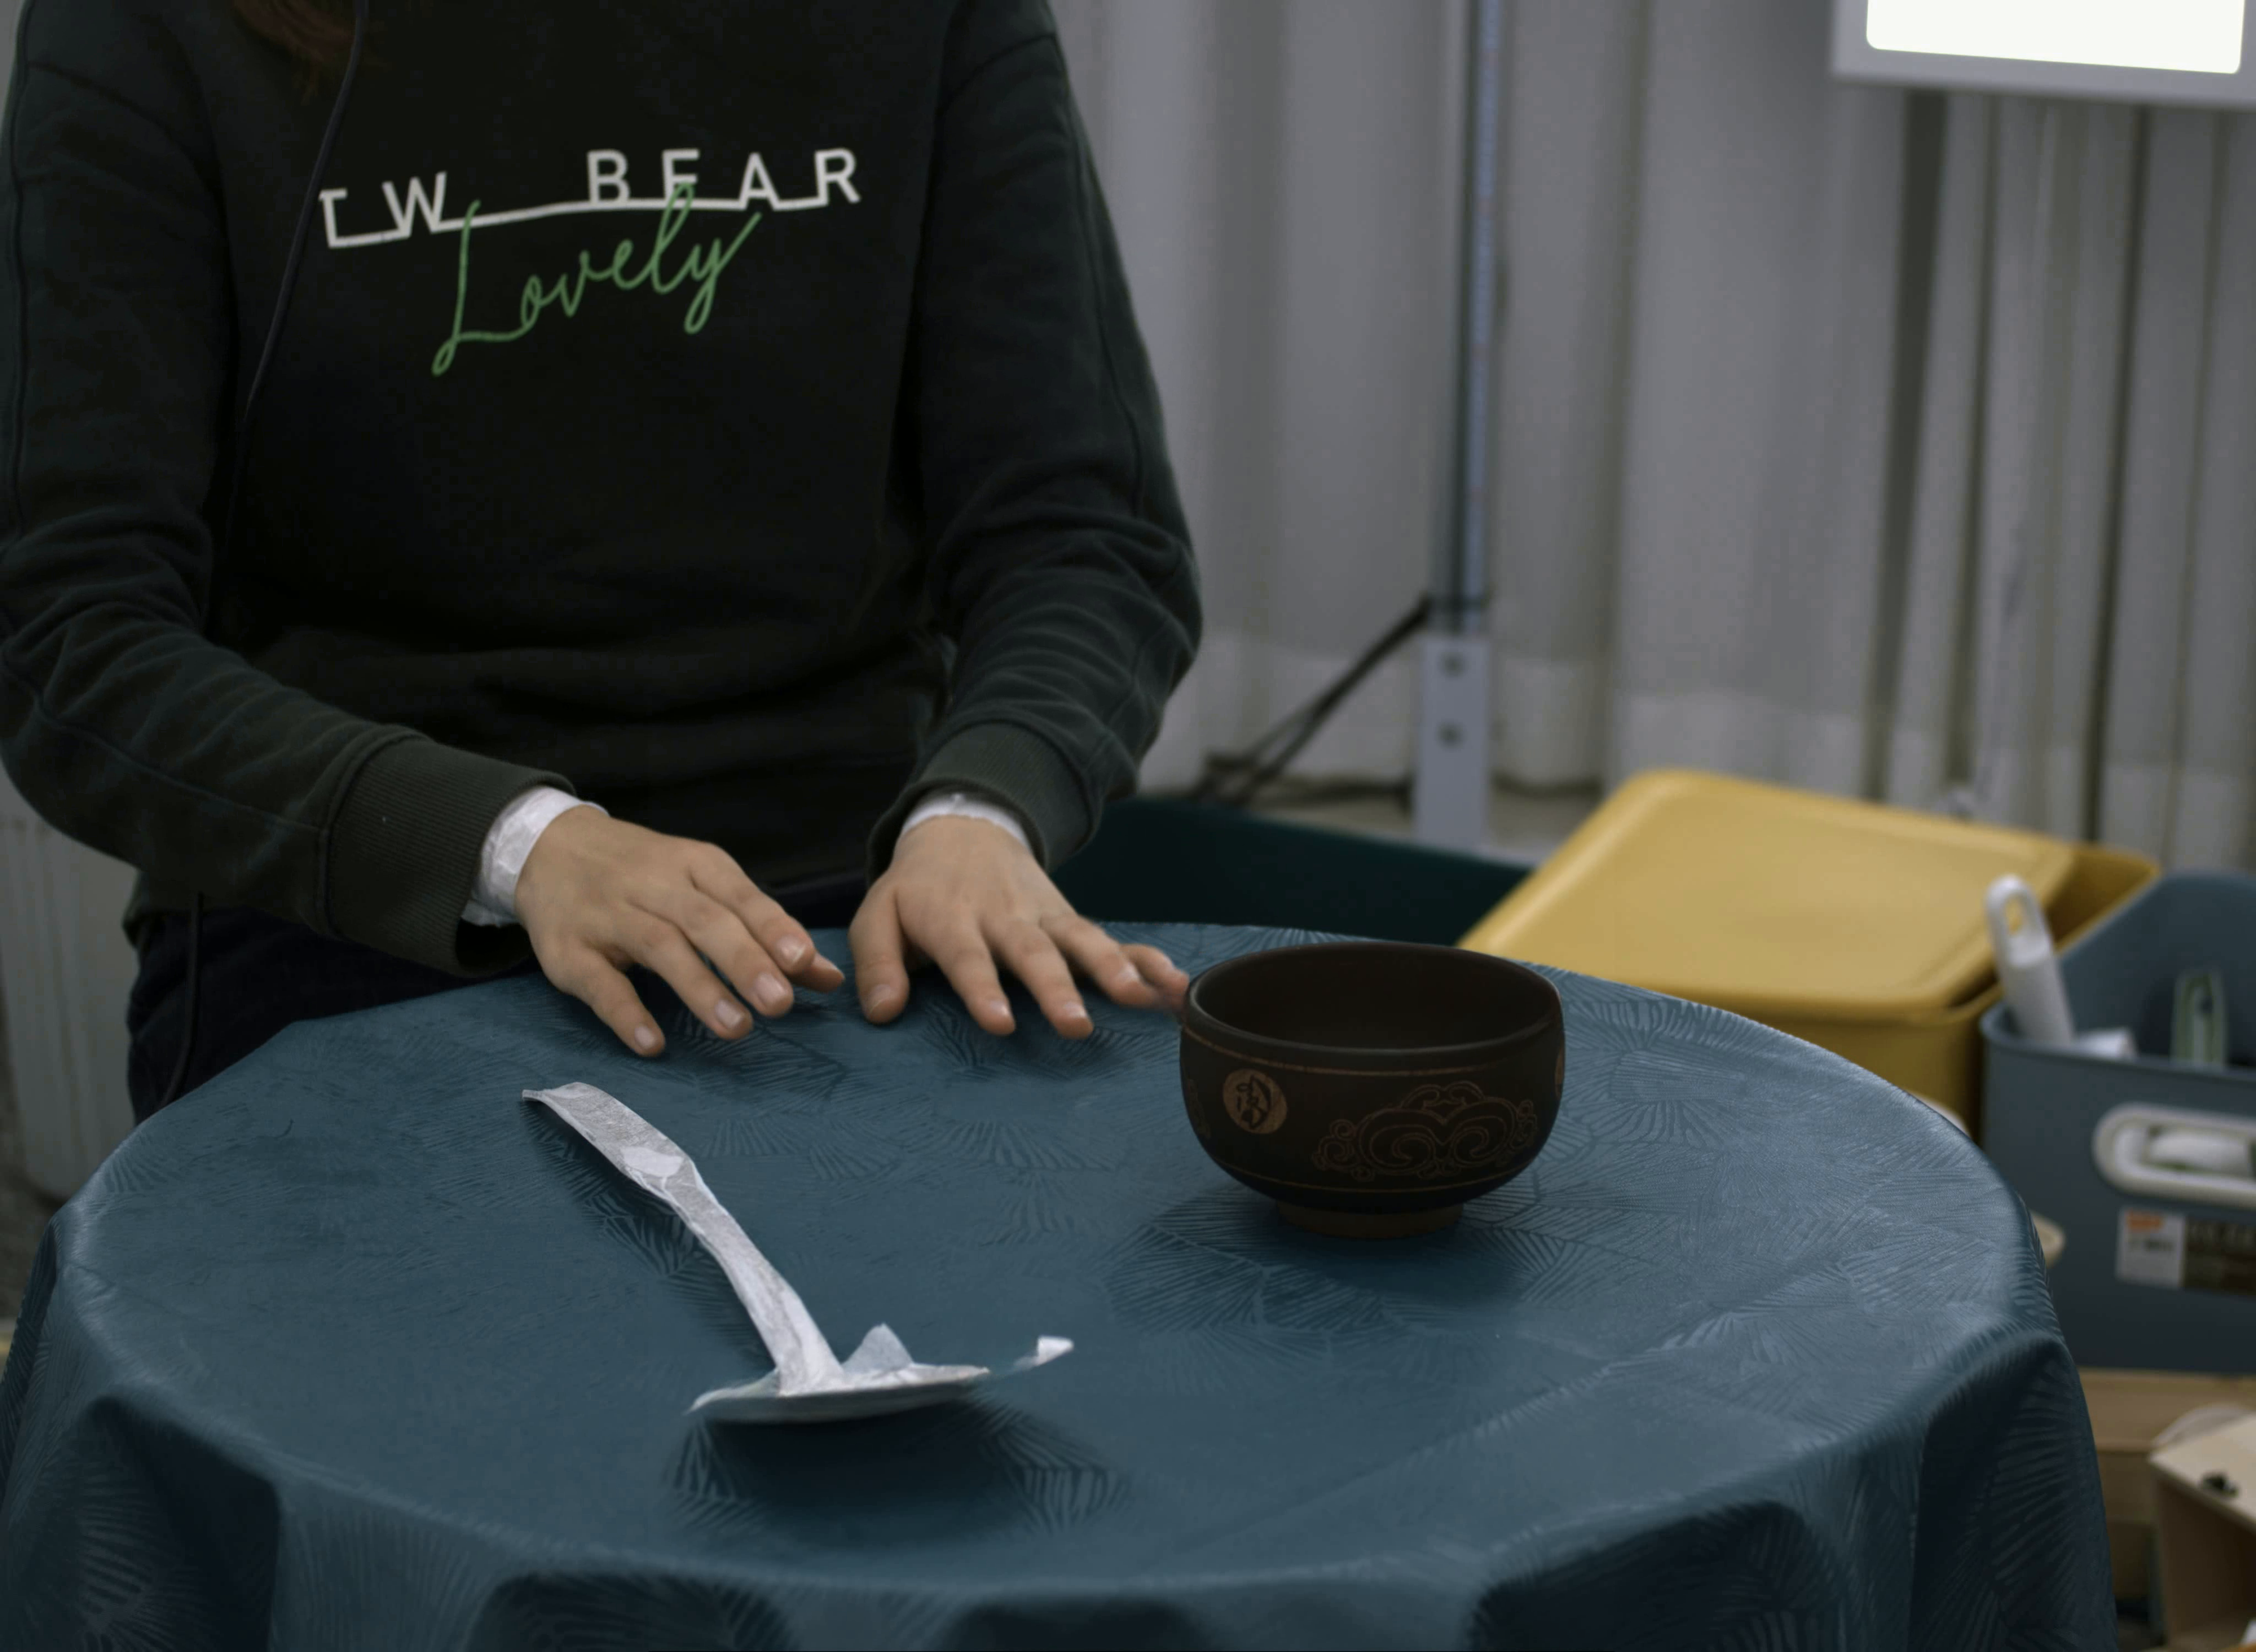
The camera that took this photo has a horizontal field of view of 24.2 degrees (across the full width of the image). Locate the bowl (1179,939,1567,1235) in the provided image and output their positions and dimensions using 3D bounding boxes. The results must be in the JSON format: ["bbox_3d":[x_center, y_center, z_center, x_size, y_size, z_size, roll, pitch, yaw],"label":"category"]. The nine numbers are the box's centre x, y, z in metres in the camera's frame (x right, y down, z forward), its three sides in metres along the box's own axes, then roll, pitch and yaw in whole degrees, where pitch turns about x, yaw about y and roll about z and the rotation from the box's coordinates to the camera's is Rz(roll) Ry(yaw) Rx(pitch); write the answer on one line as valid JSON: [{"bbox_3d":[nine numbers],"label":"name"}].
[{"bbox_3d":[0.074,0.083,1.603,0.117,0.070,0.117,2,15,0],"label":"bowl"}]

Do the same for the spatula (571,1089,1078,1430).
[{"bbox_3d":[-0.114,0.117,1.536,0.099,0.045,0.361,-7,18,-19],"label":"spatula"}]
